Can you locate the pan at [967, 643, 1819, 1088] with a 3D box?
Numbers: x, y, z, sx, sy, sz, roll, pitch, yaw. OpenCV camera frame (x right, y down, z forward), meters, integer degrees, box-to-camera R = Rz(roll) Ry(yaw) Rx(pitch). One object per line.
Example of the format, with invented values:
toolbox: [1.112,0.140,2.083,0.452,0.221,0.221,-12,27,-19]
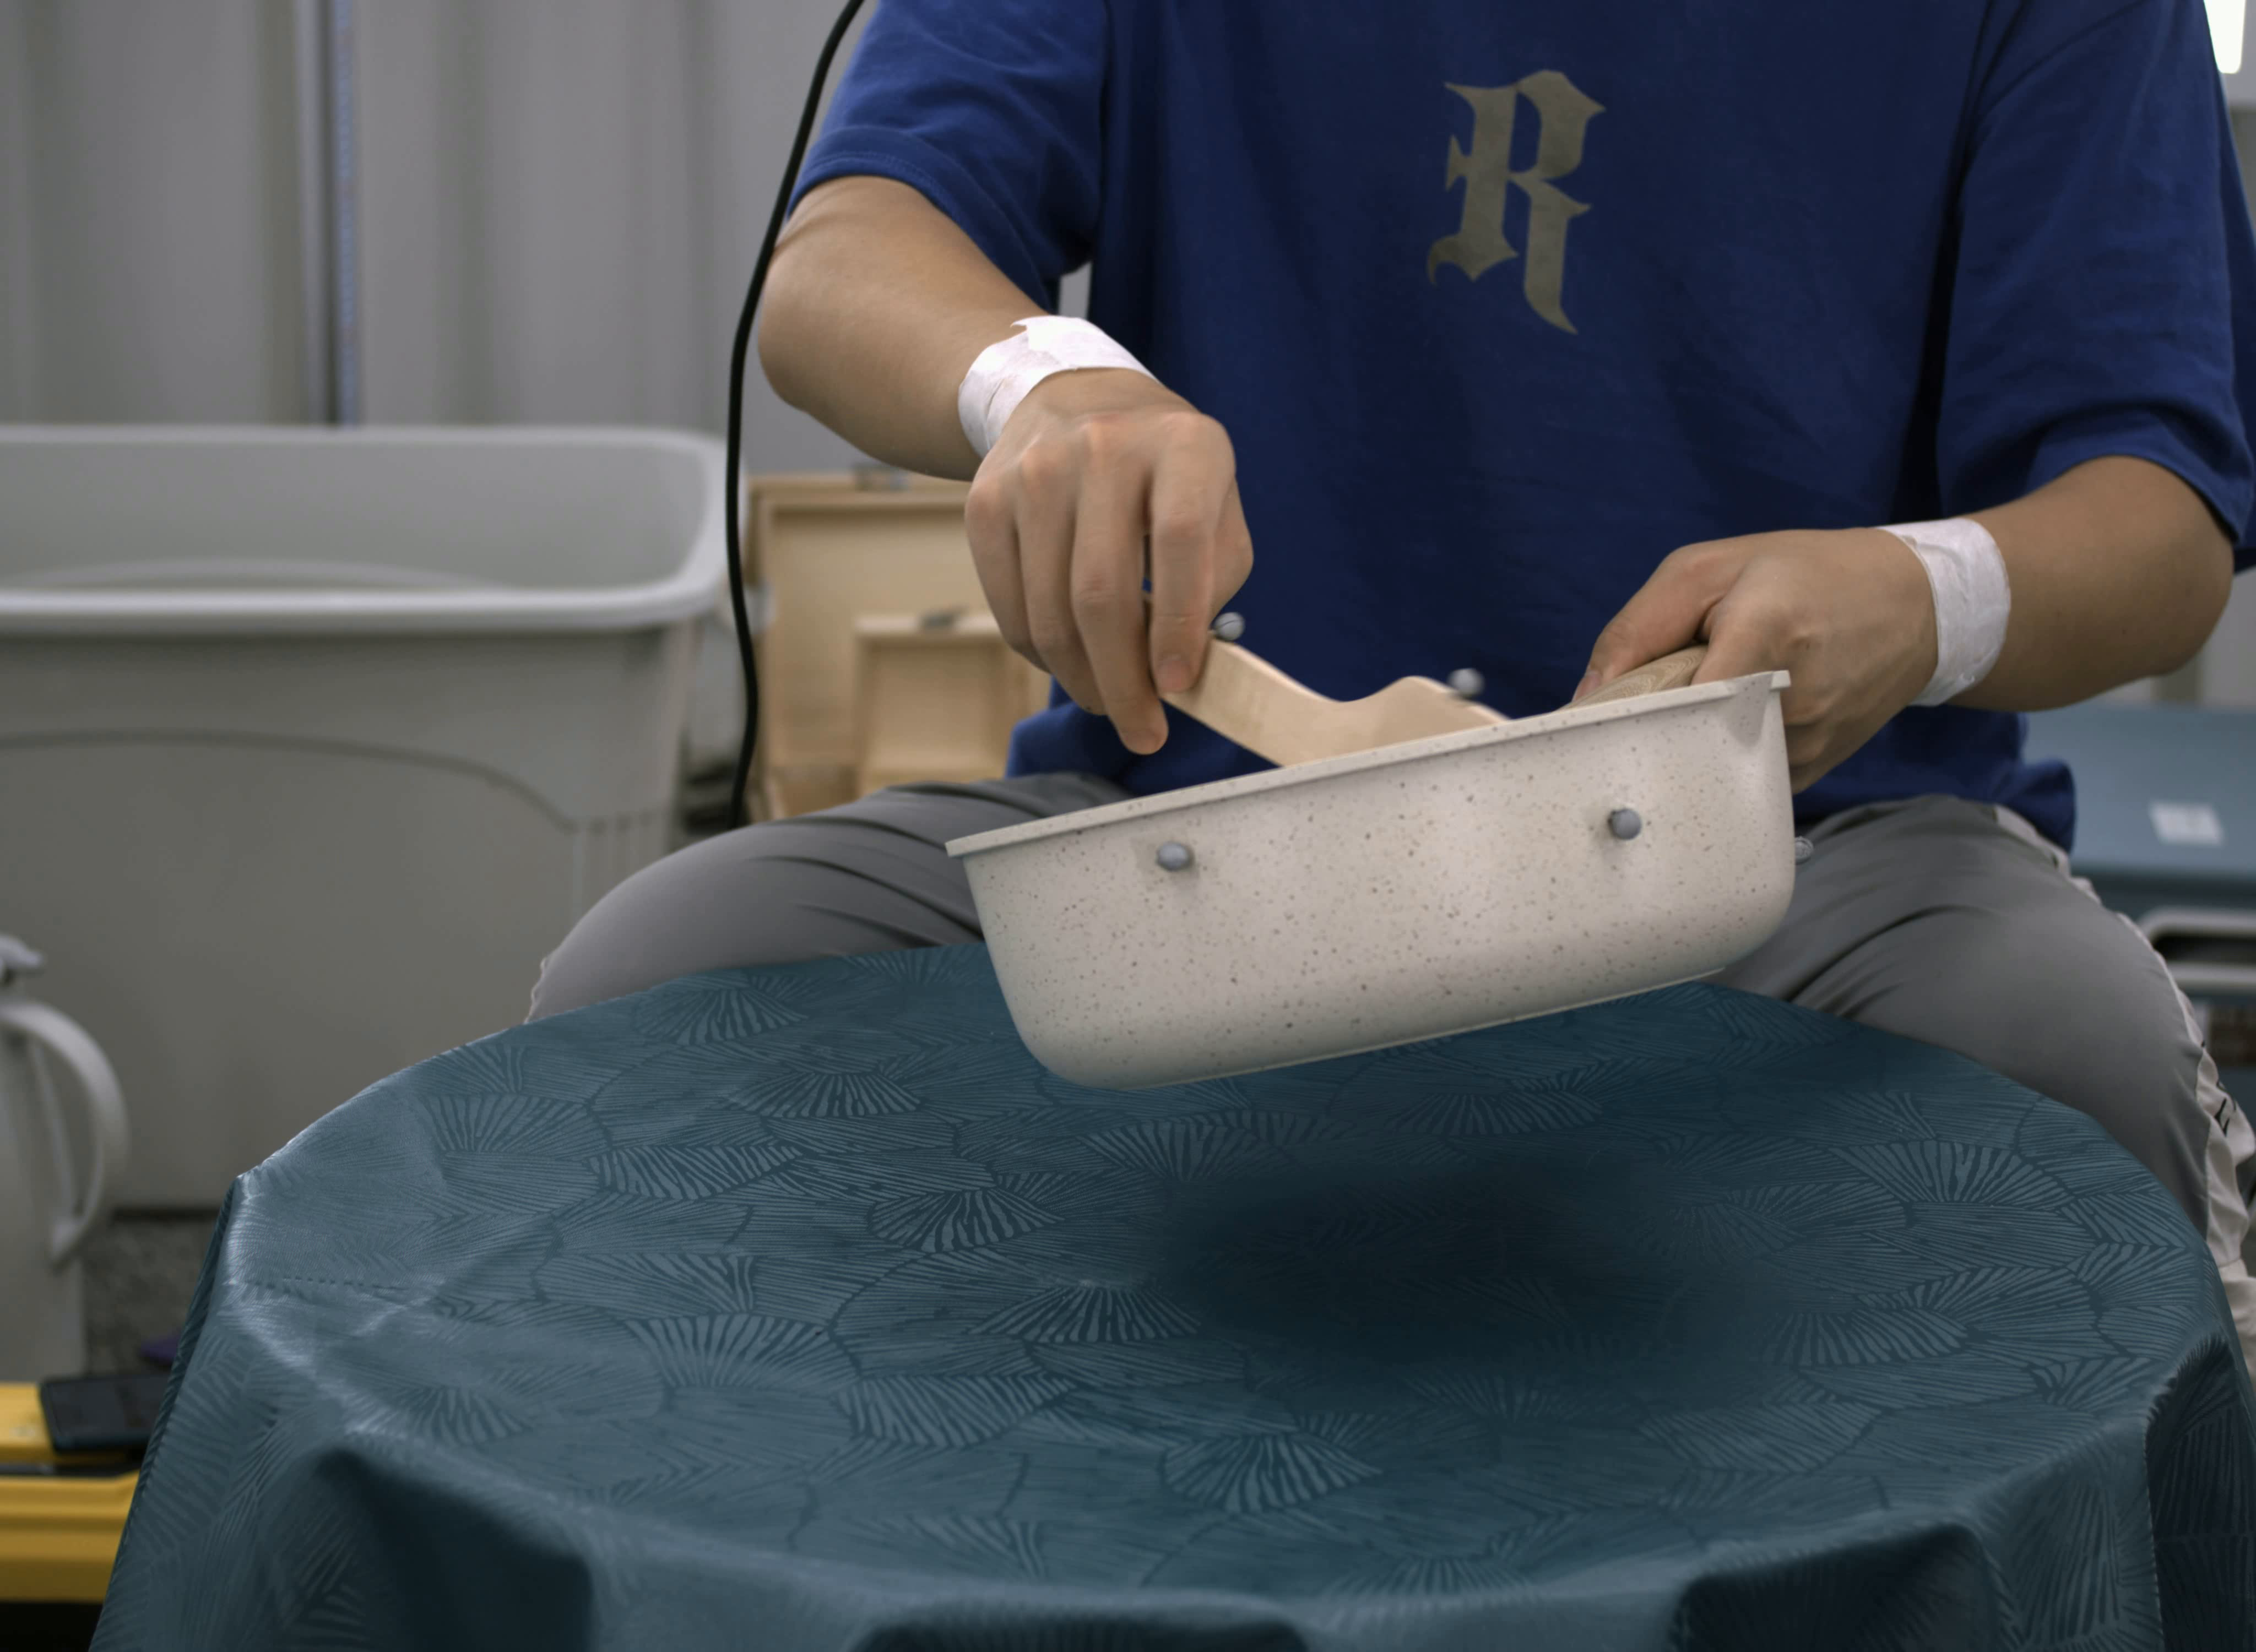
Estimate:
pan: [0.125,0.002,1.613,0.261,0.102,0.437,-14,-3,28]

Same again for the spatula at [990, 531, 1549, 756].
spatula: [0.035,-0.041,1.565,0.011,0.073,0.289,-6,21,-33]
